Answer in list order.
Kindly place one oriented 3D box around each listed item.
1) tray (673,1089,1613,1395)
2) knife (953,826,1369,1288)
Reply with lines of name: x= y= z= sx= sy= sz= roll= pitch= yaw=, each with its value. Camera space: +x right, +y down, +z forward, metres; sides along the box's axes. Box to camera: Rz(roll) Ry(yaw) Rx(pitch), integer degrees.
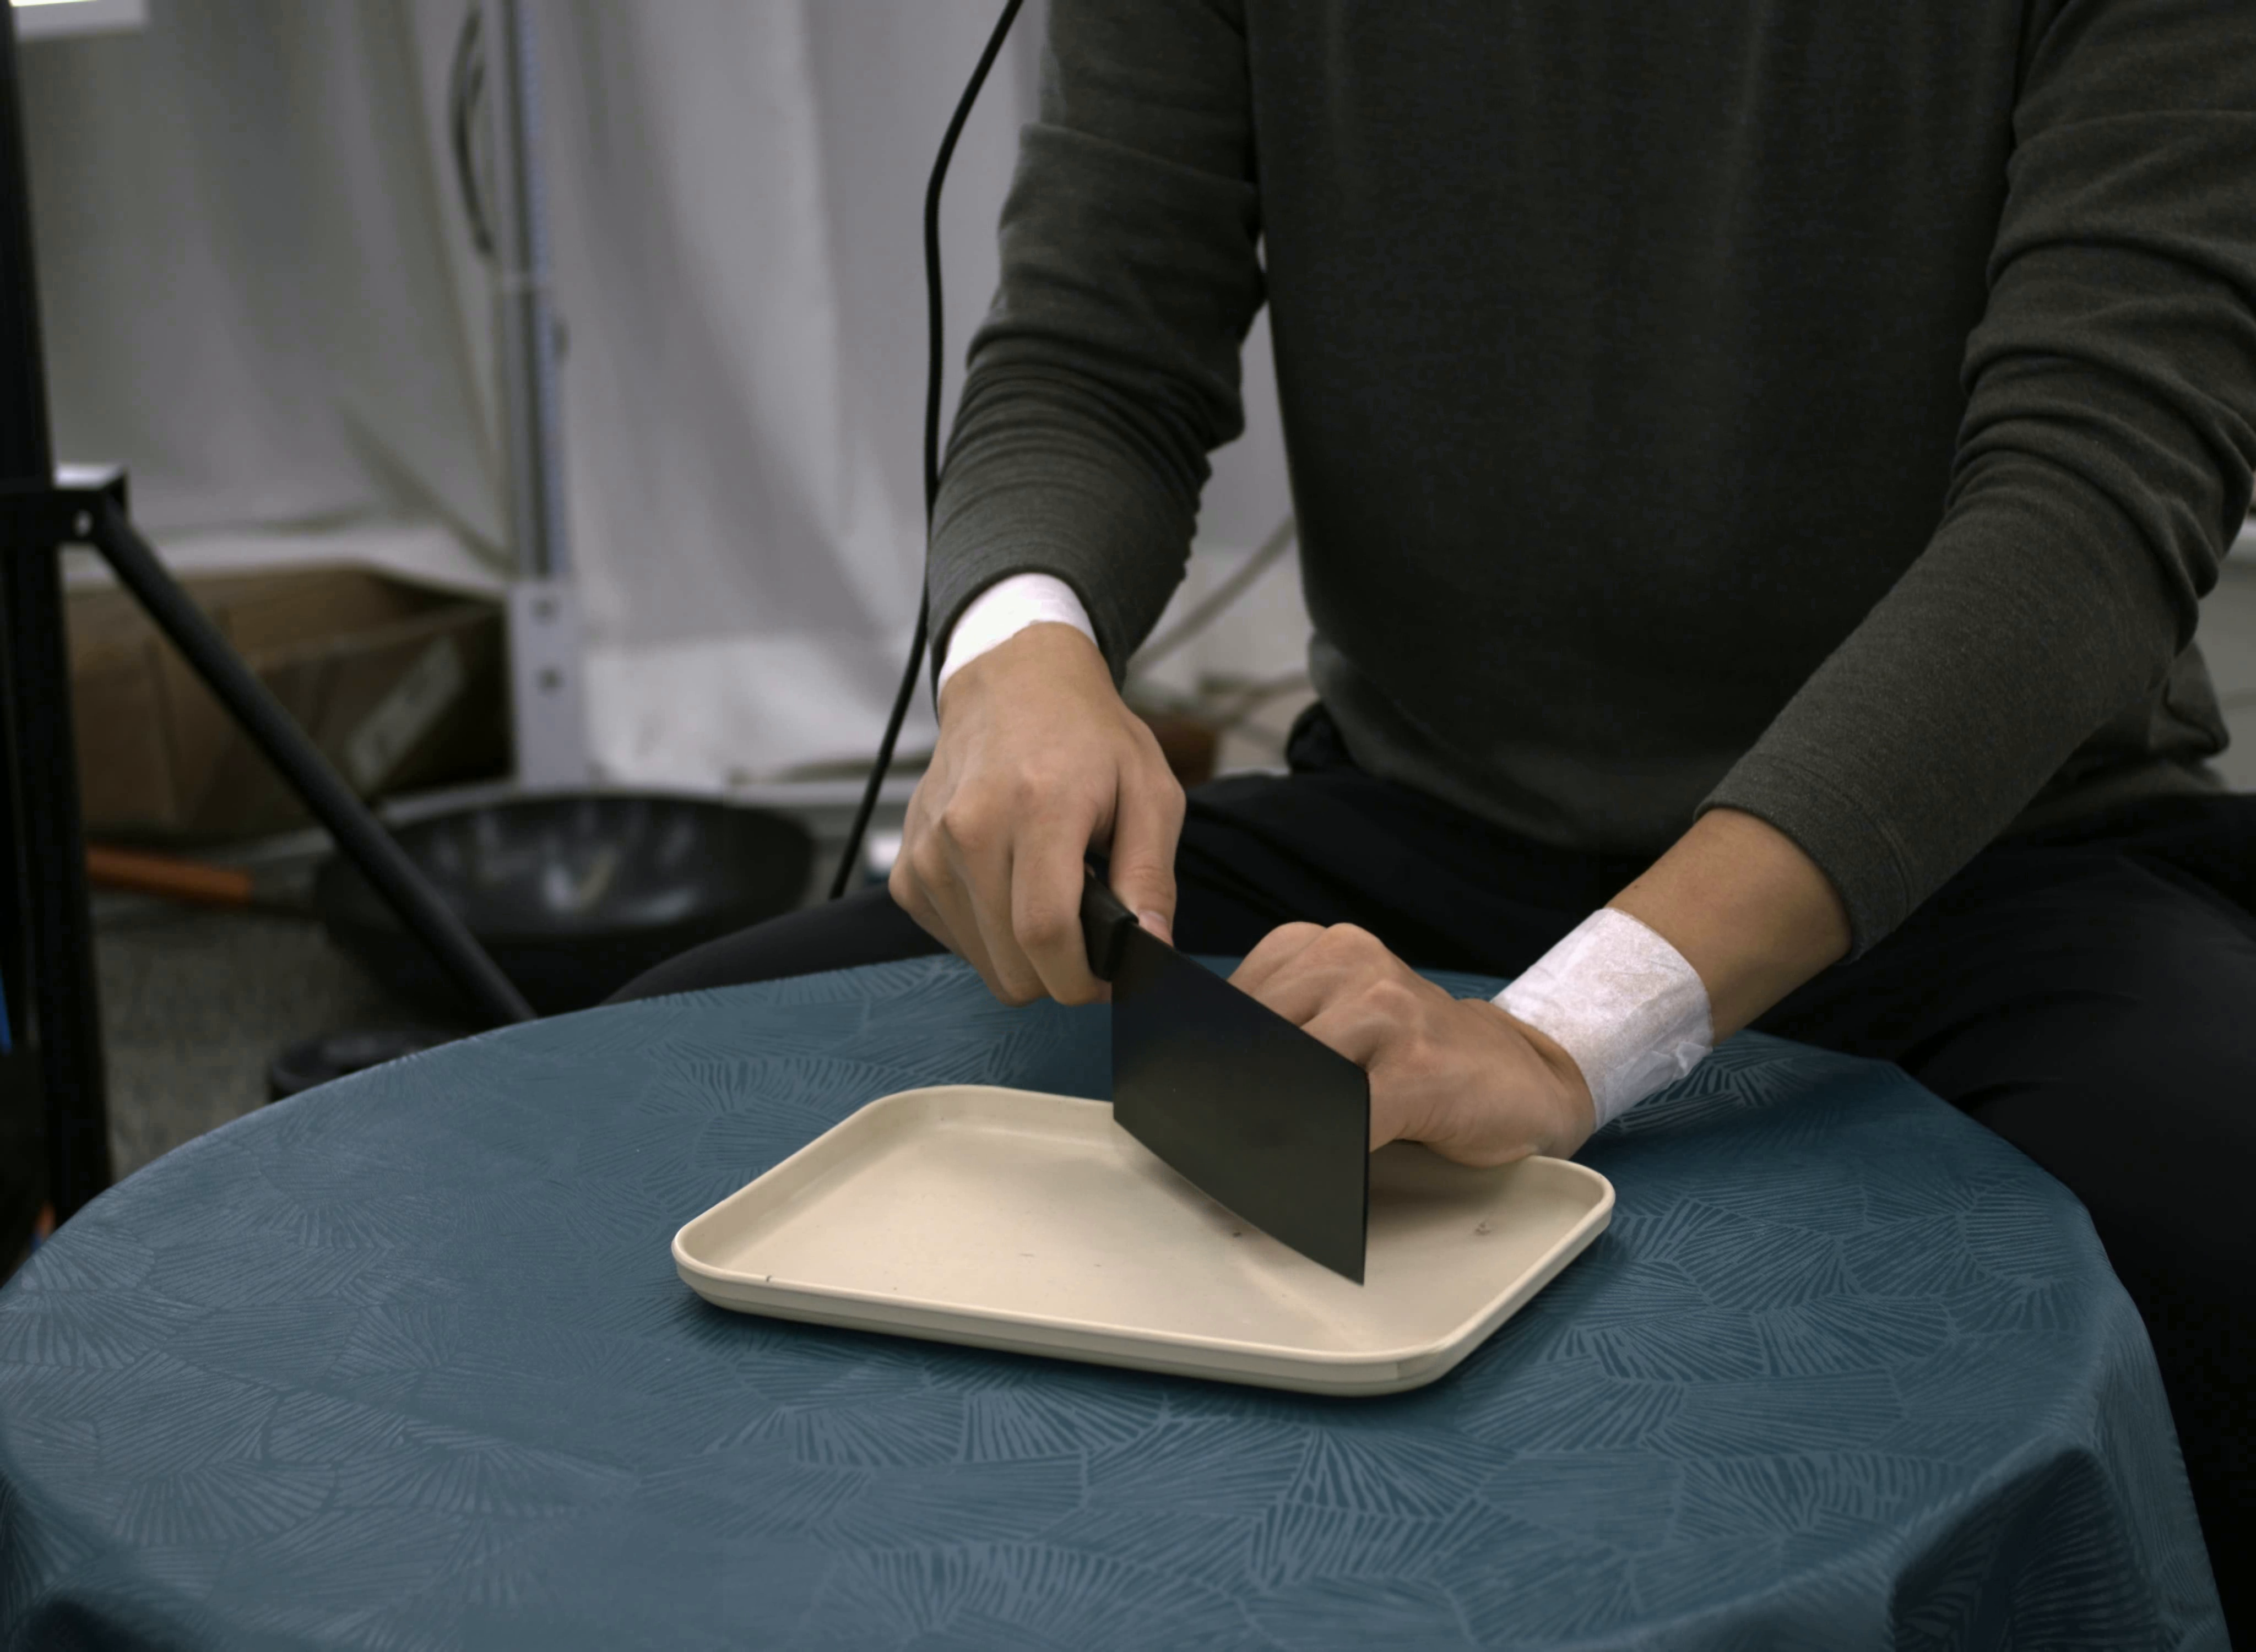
tray: x=0.006 y=0.116 z=1.497 sx=0.243 sy=0.017 sz=0.168 roll=5 pitch=17 yaw=26
knife: x=0.008 y=0.059 z=1.546 sx=0.020 sy=0.081 sz=0.308 roll=-3 pitch=19 yaw=-21
